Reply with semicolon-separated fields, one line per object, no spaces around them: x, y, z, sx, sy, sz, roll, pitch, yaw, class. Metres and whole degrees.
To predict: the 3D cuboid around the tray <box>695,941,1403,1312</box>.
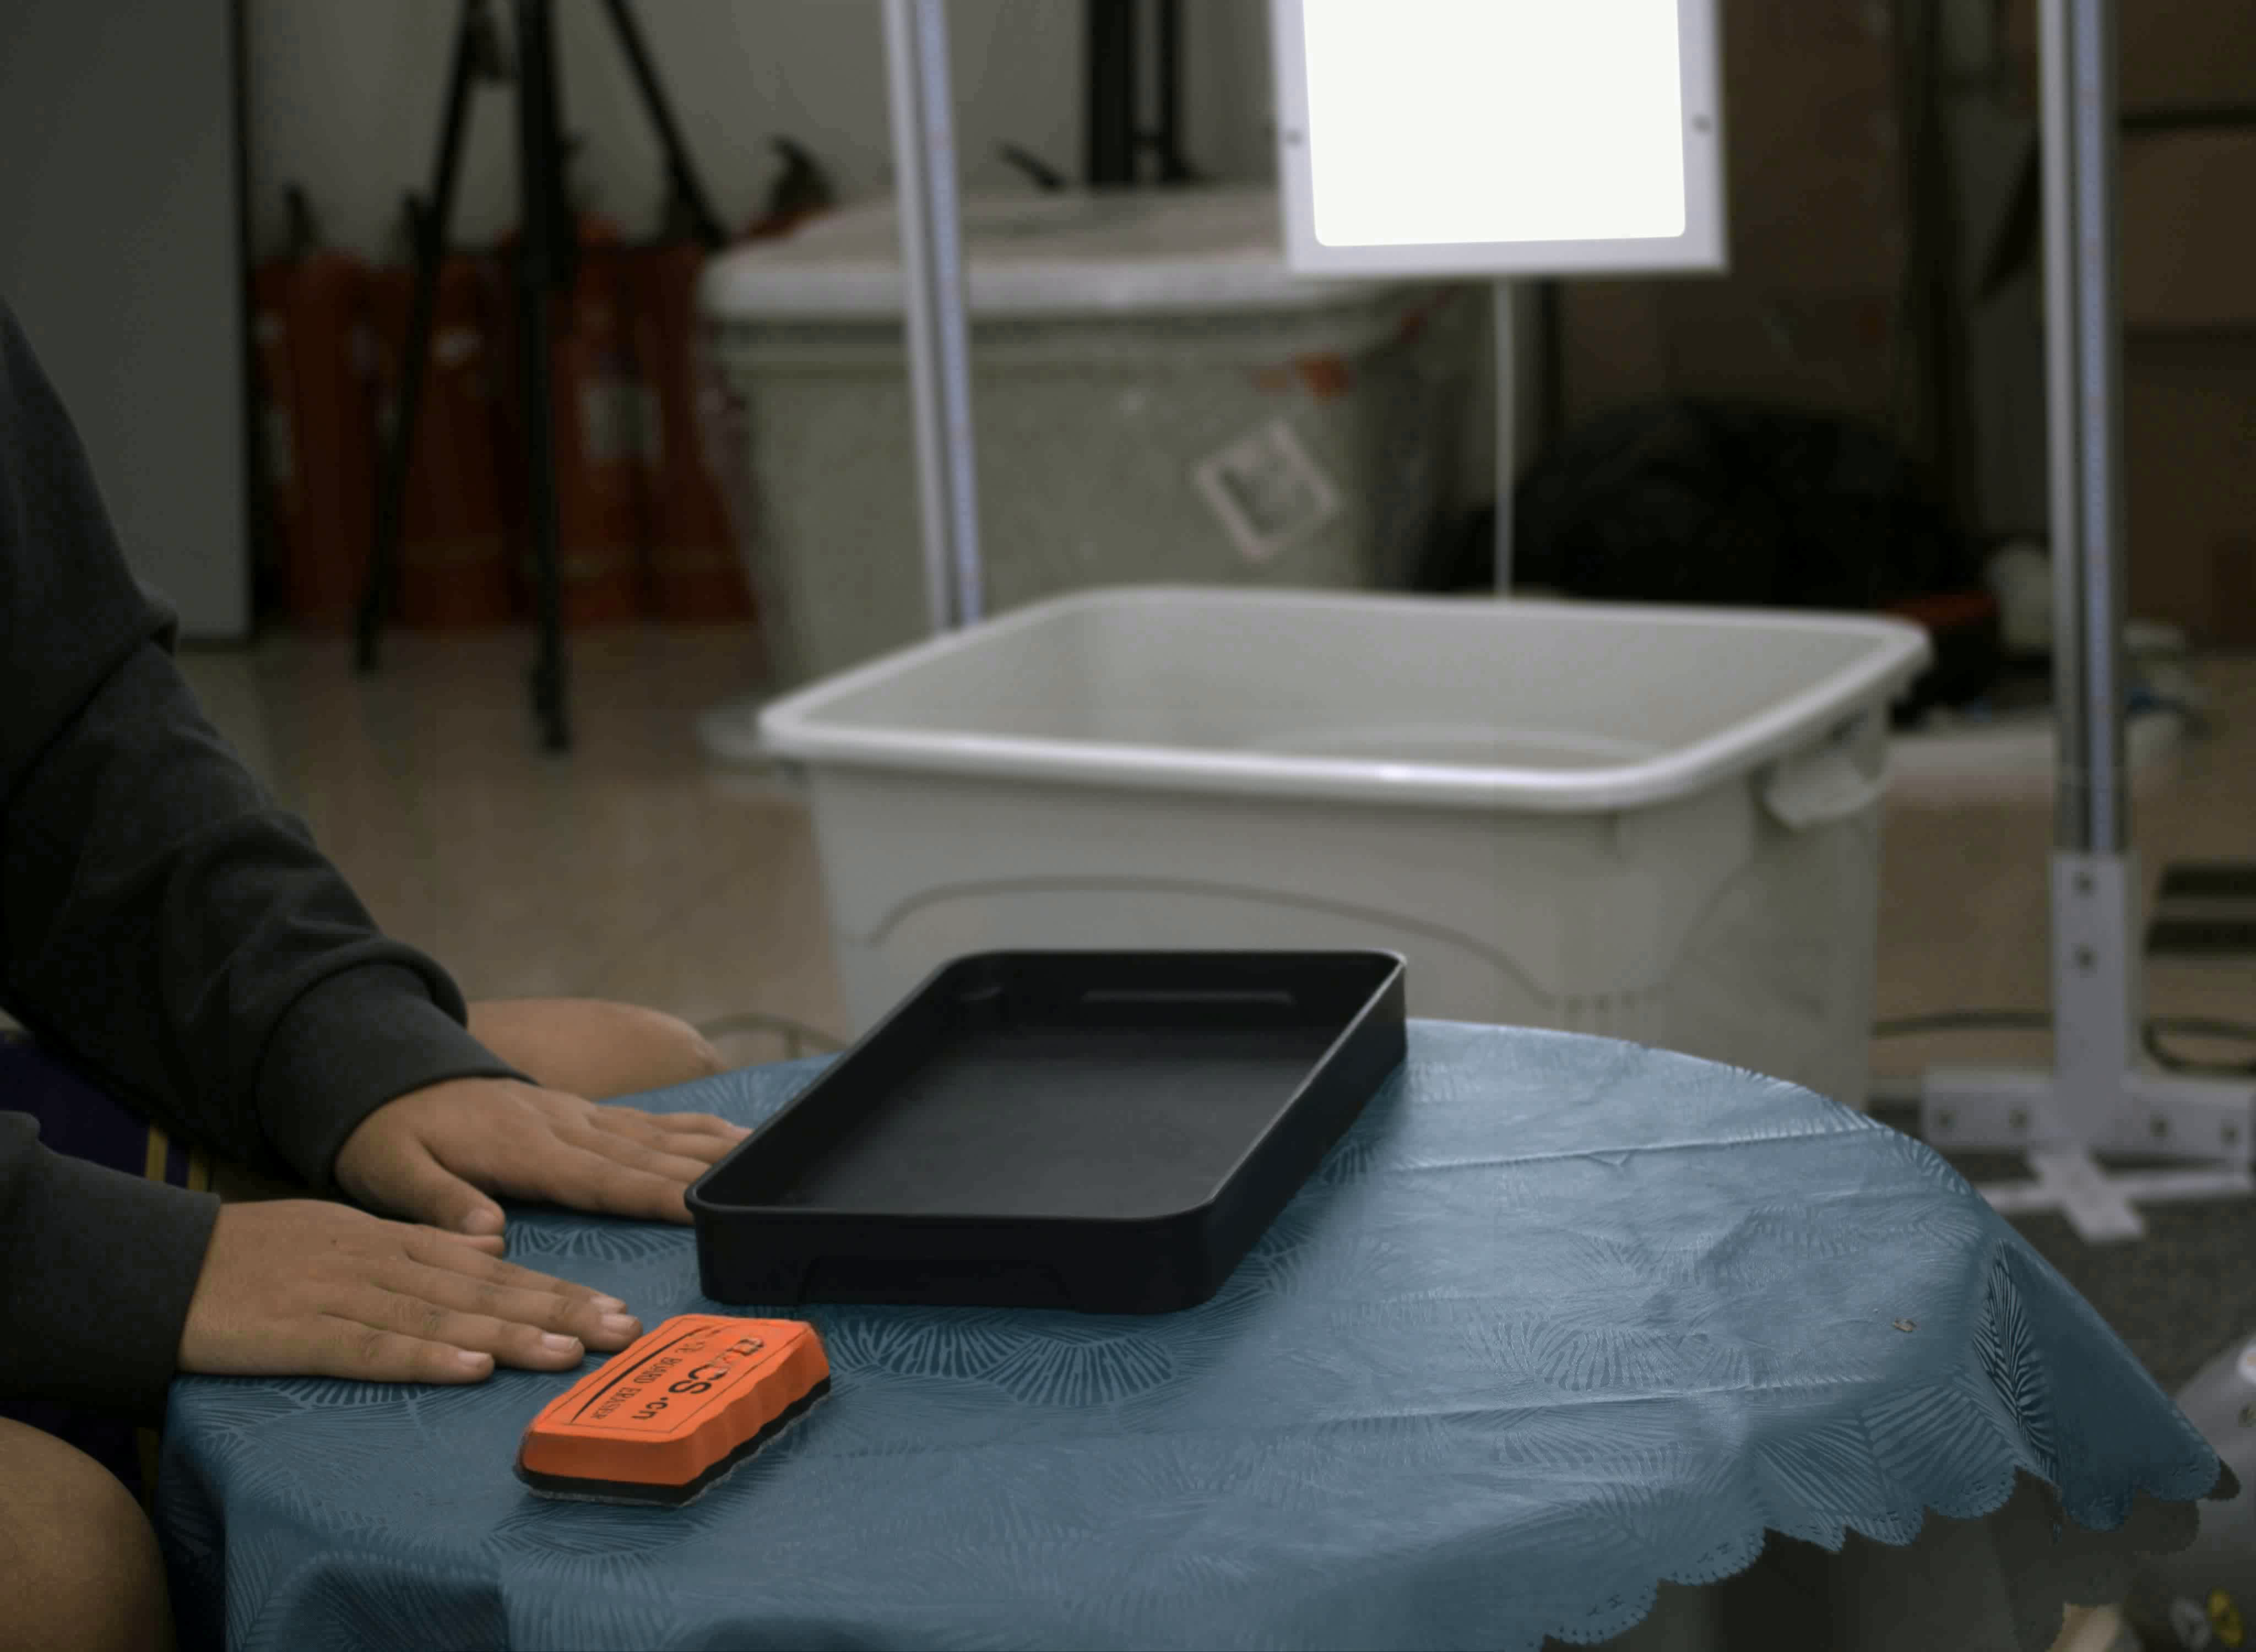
-0.019;0.101;1.935;0.186;0.037;0.313;-2;15;17;tray

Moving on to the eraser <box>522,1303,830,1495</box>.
-0.137;0.174;1.687;0.060;0.023;0.106;-5;14;25;eraser
